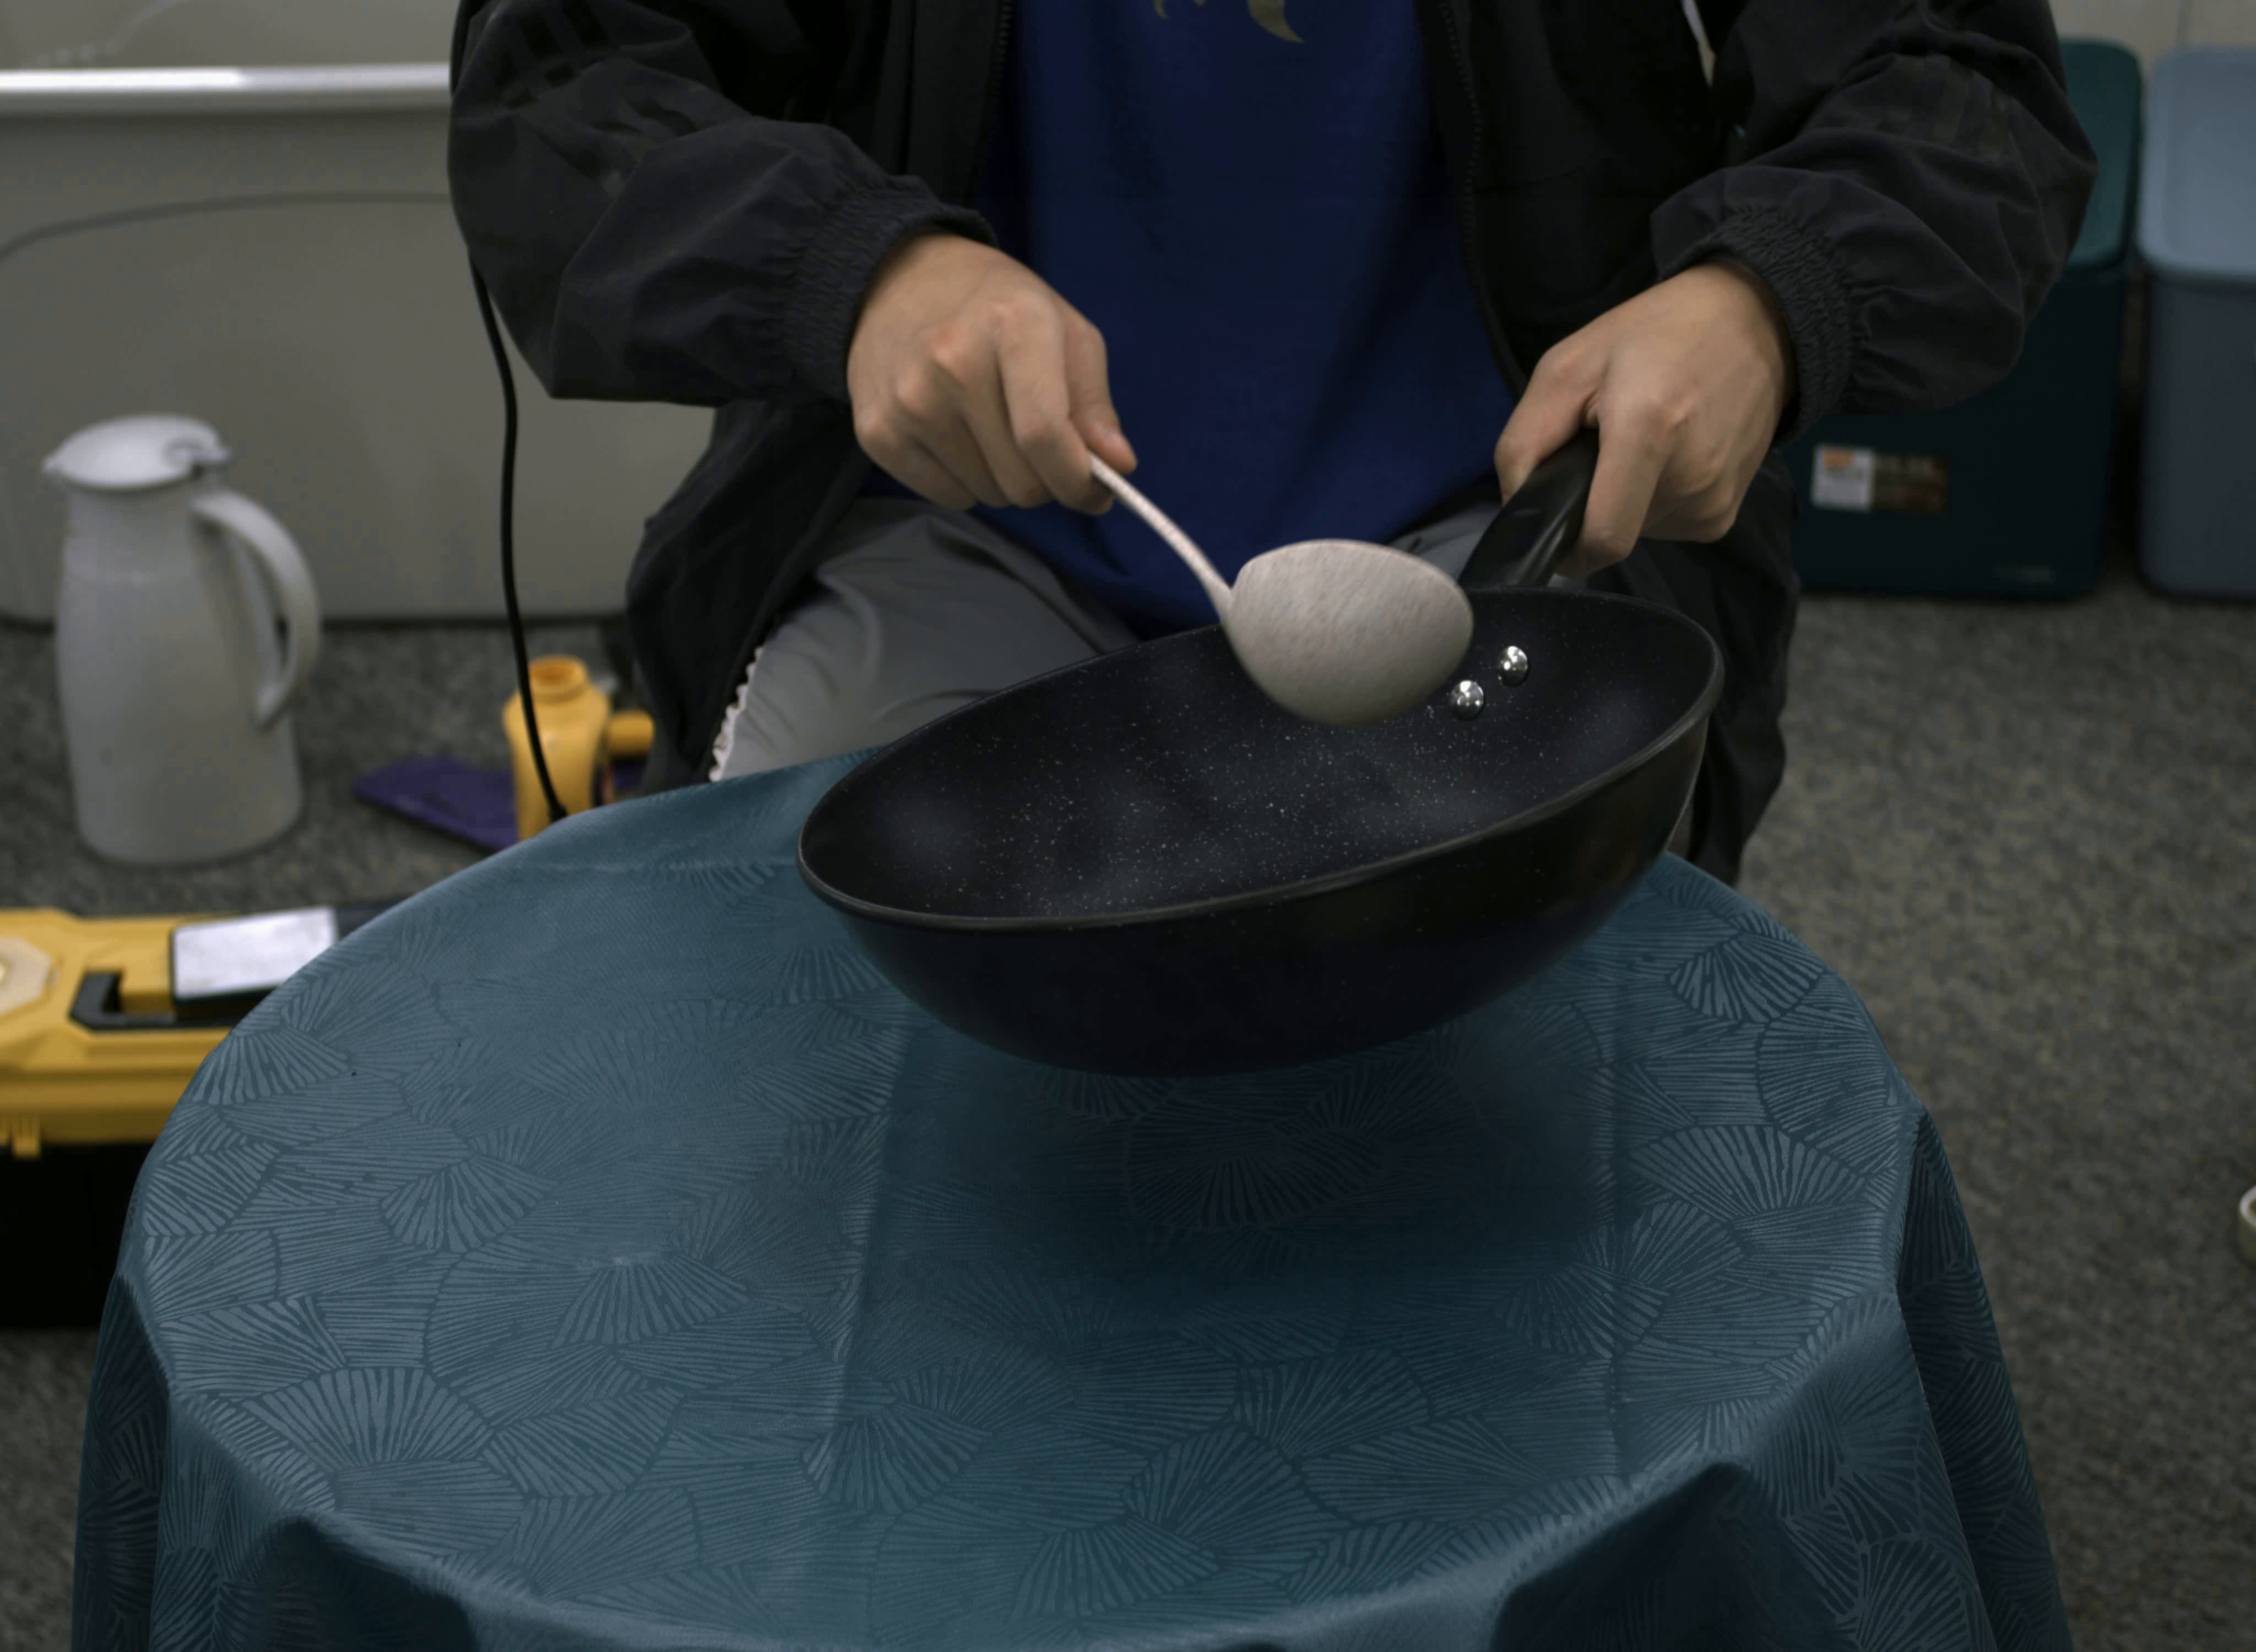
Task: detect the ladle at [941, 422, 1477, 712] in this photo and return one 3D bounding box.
[{"bbox_3d":[0.023,-0.114,1.963,0.069,0.088,0.276,-45,37,-5],"label":"ladle"}]

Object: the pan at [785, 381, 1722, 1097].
[{"bbox_3d":[0.086,-0.025,1.901,0.307,0.111,0.484,0,21,32],"label":"pan"}]
